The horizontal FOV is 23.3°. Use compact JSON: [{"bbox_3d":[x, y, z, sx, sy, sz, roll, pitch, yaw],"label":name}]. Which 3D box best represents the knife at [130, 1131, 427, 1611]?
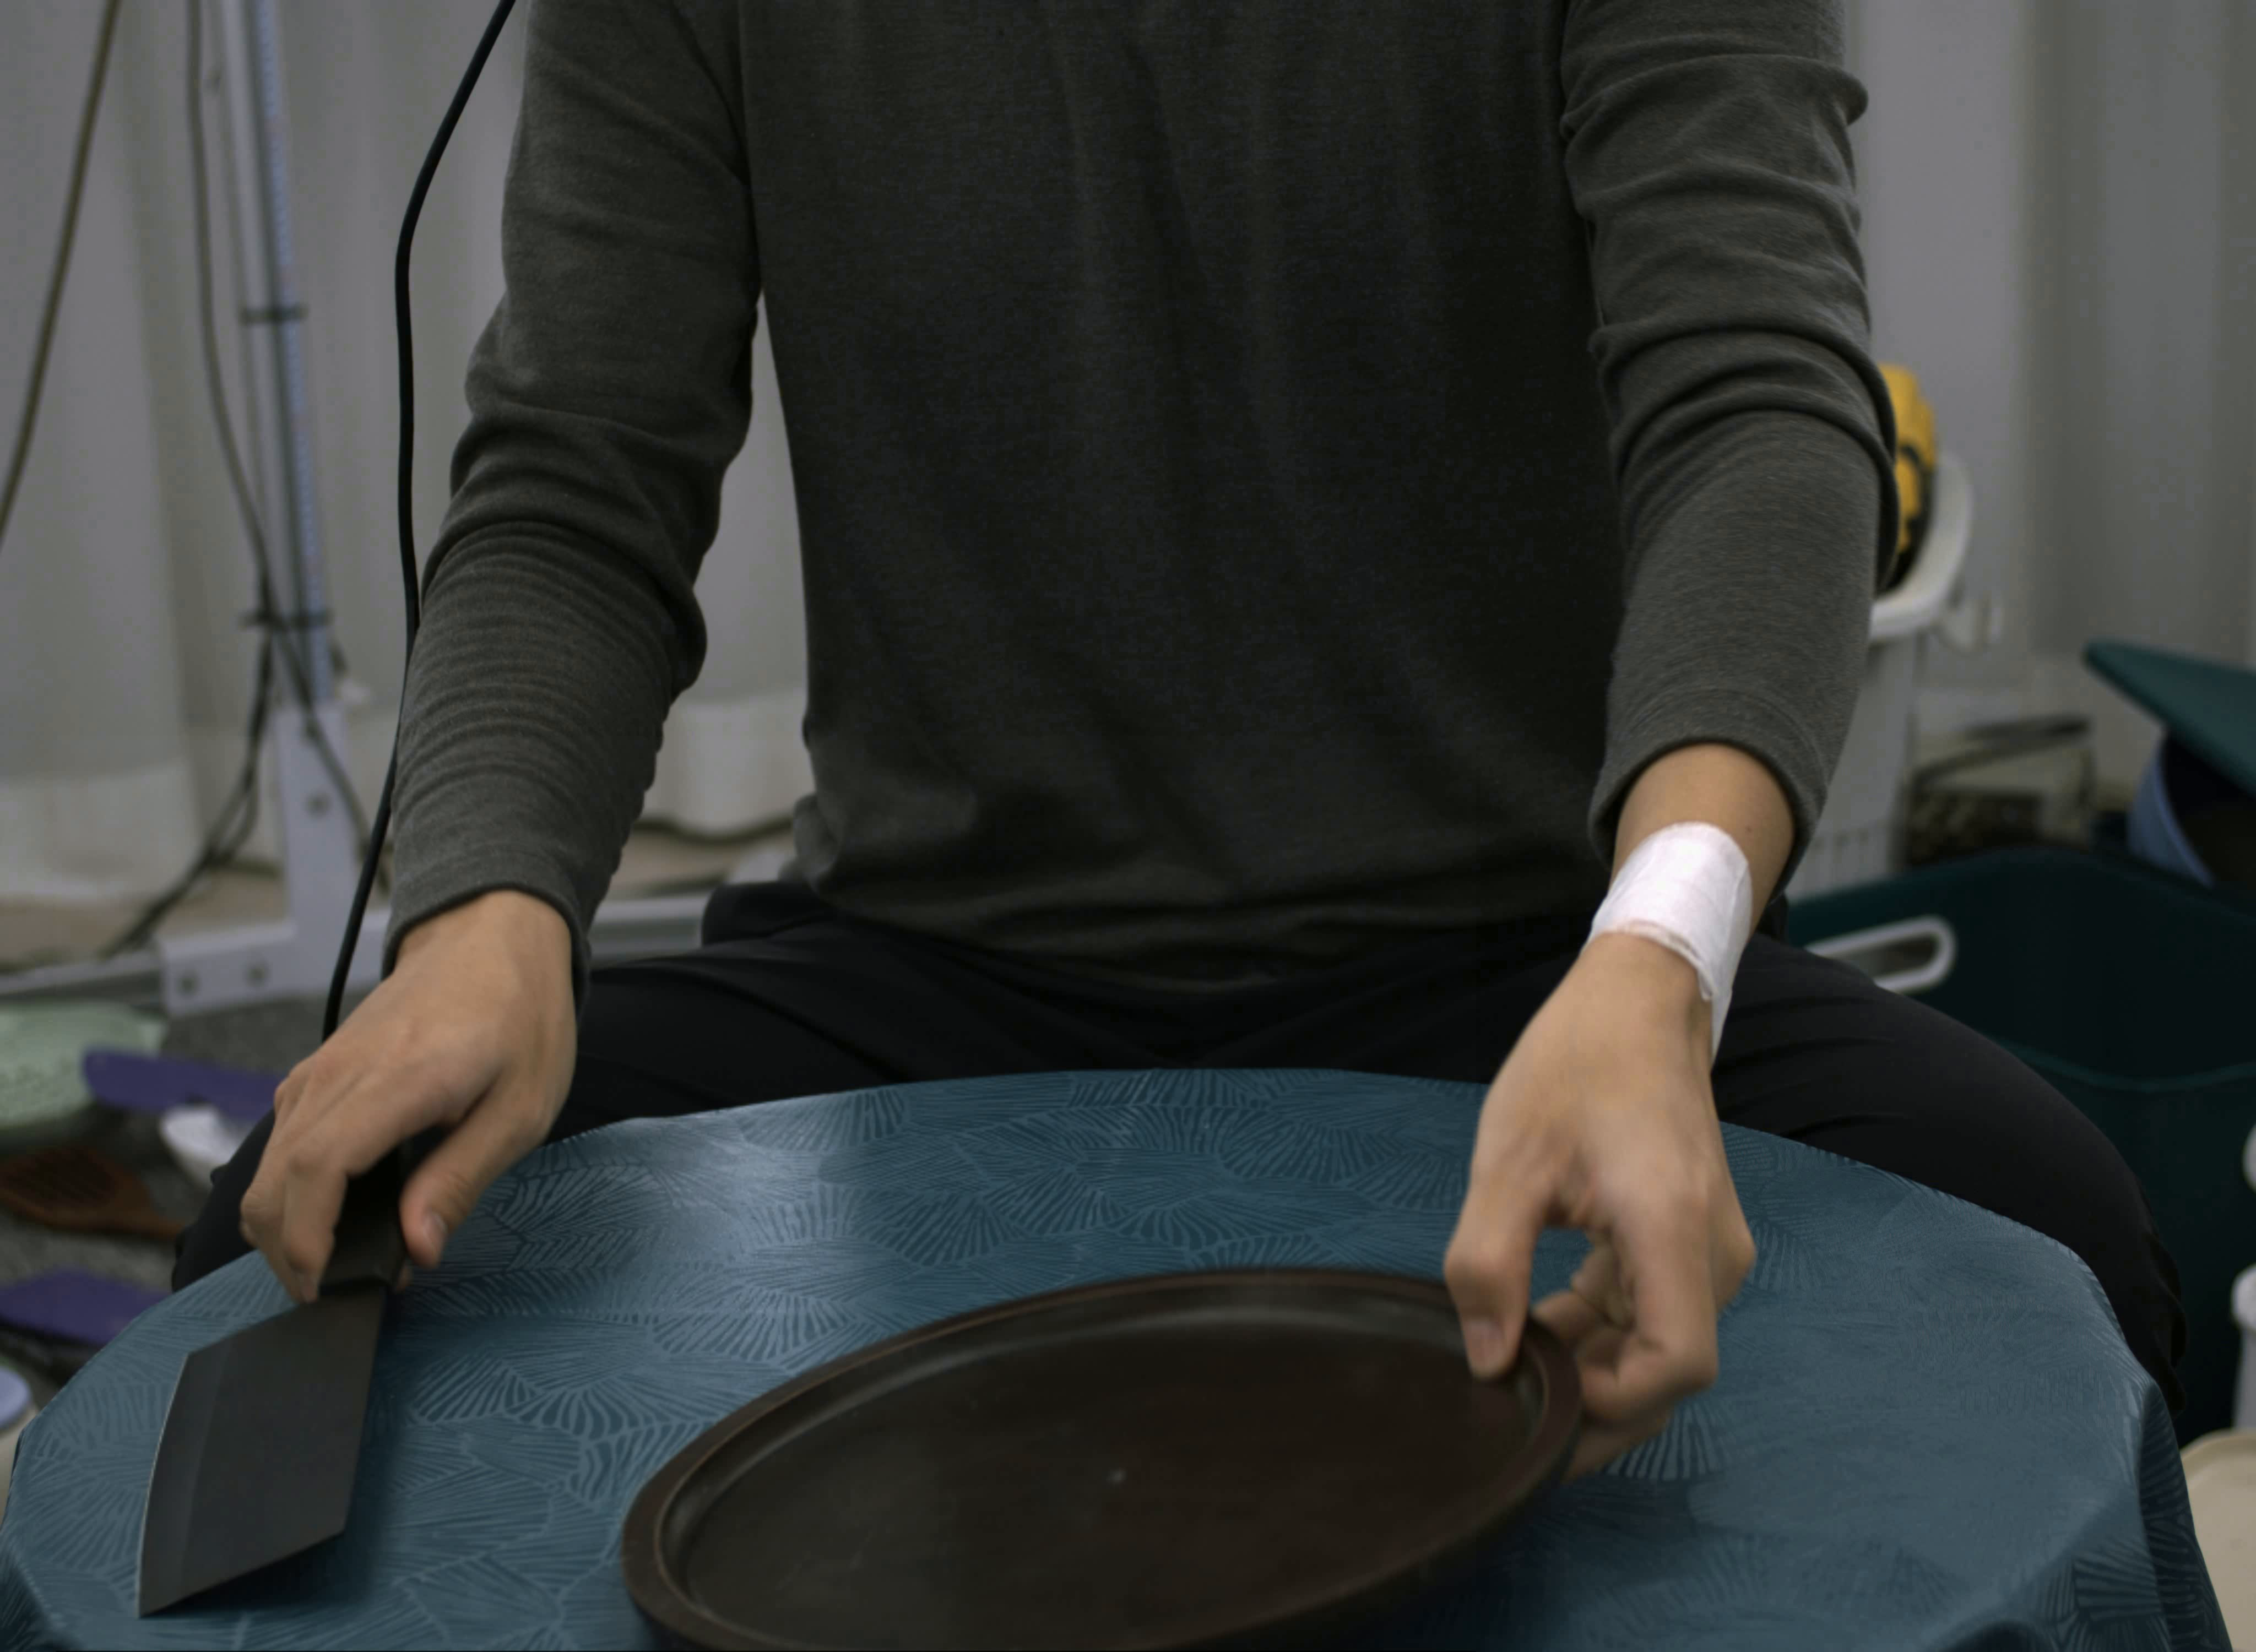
[{"bbox_3d":[-0.238,0.151,1.561,0.081,0.021,0.305,-19,17,7],"label":"knife"}]

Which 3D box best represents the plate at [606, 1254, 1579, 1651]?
[{"bbox_3d":[-0.008,0.172,1.406,0.254,0.029,0.256,-10,16,3],"label":"plate"}]
